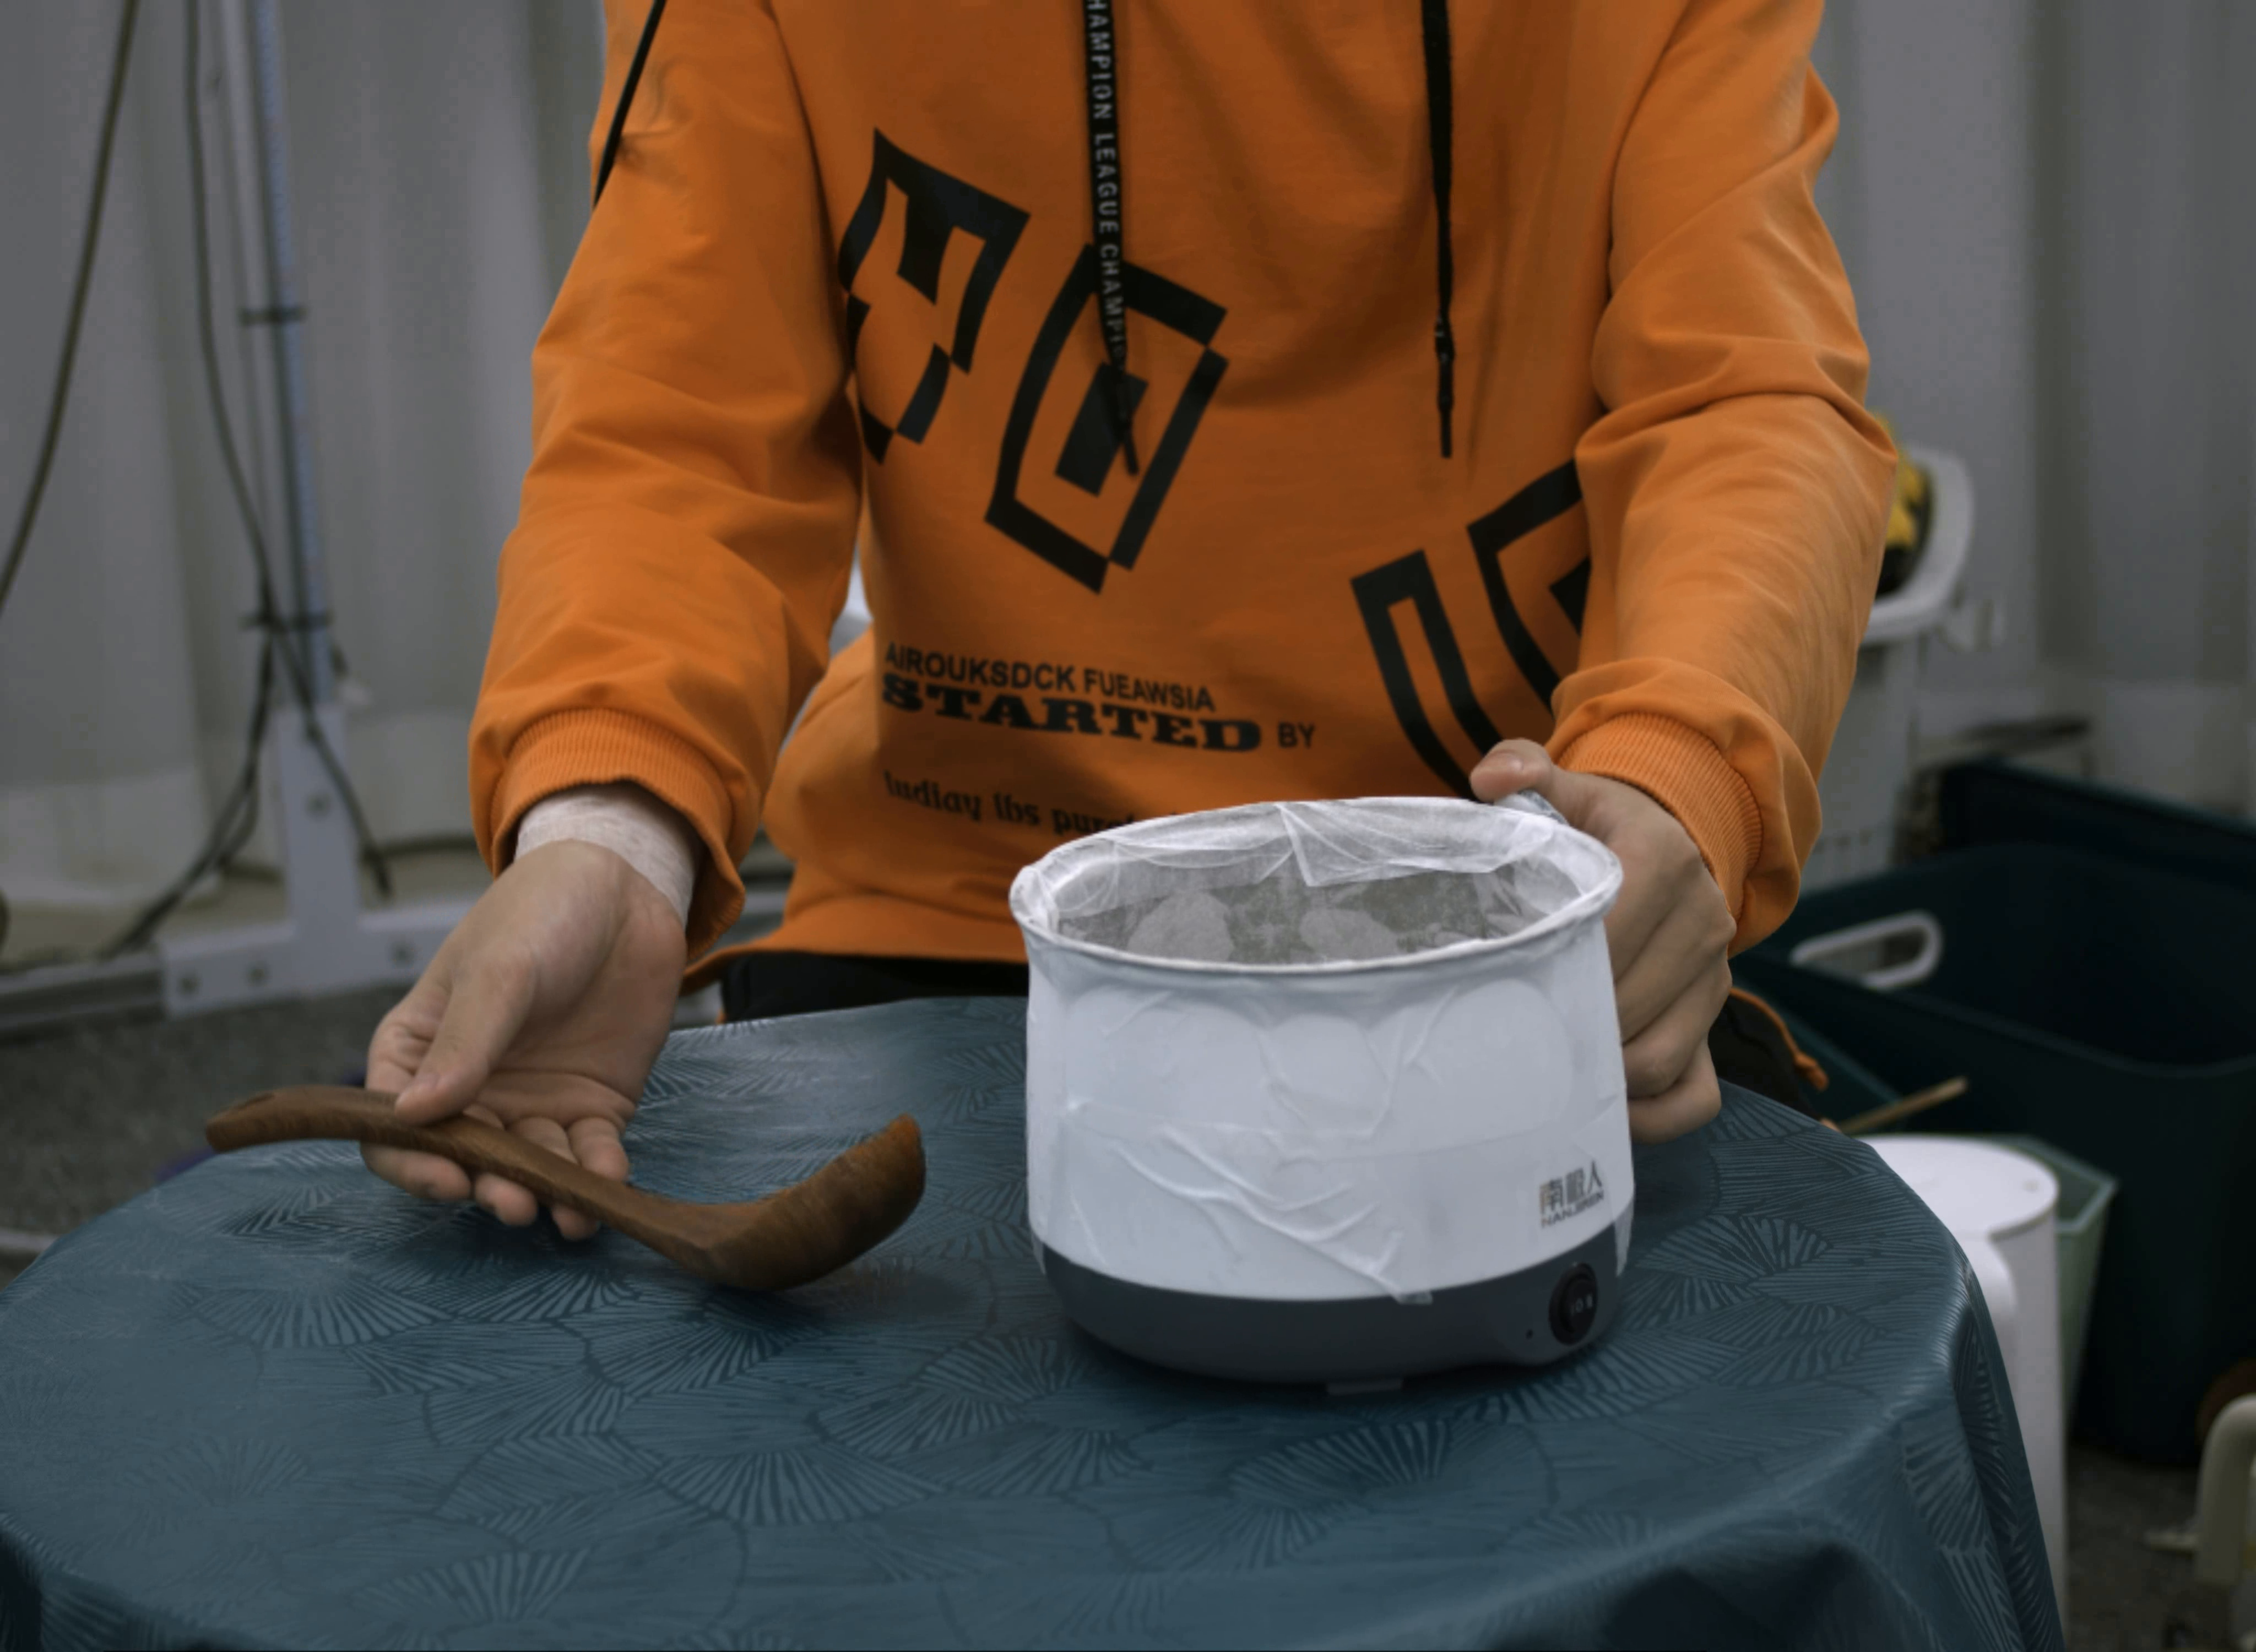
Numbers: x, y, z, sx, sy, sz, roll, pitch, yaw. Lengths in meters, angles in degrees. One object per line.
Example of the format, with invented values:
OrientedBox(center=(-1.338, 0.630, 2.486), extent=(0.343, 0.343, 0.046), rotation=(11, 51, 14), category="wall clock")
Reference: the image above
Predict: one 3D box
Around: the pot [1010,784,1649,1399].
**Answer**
OrientedBox(center=(0.074, 0.070, 1.605), extent=(0.179, 0.136, 0.233), rotation=(9, 19, 37), category="pot")

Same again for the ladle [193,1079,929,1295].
OrientedBox(center=(-0.178, 0.094, 1.674), extent=(0.261, 0.065, 0.076), rotation=(13, 17, 27), category="ladle")
